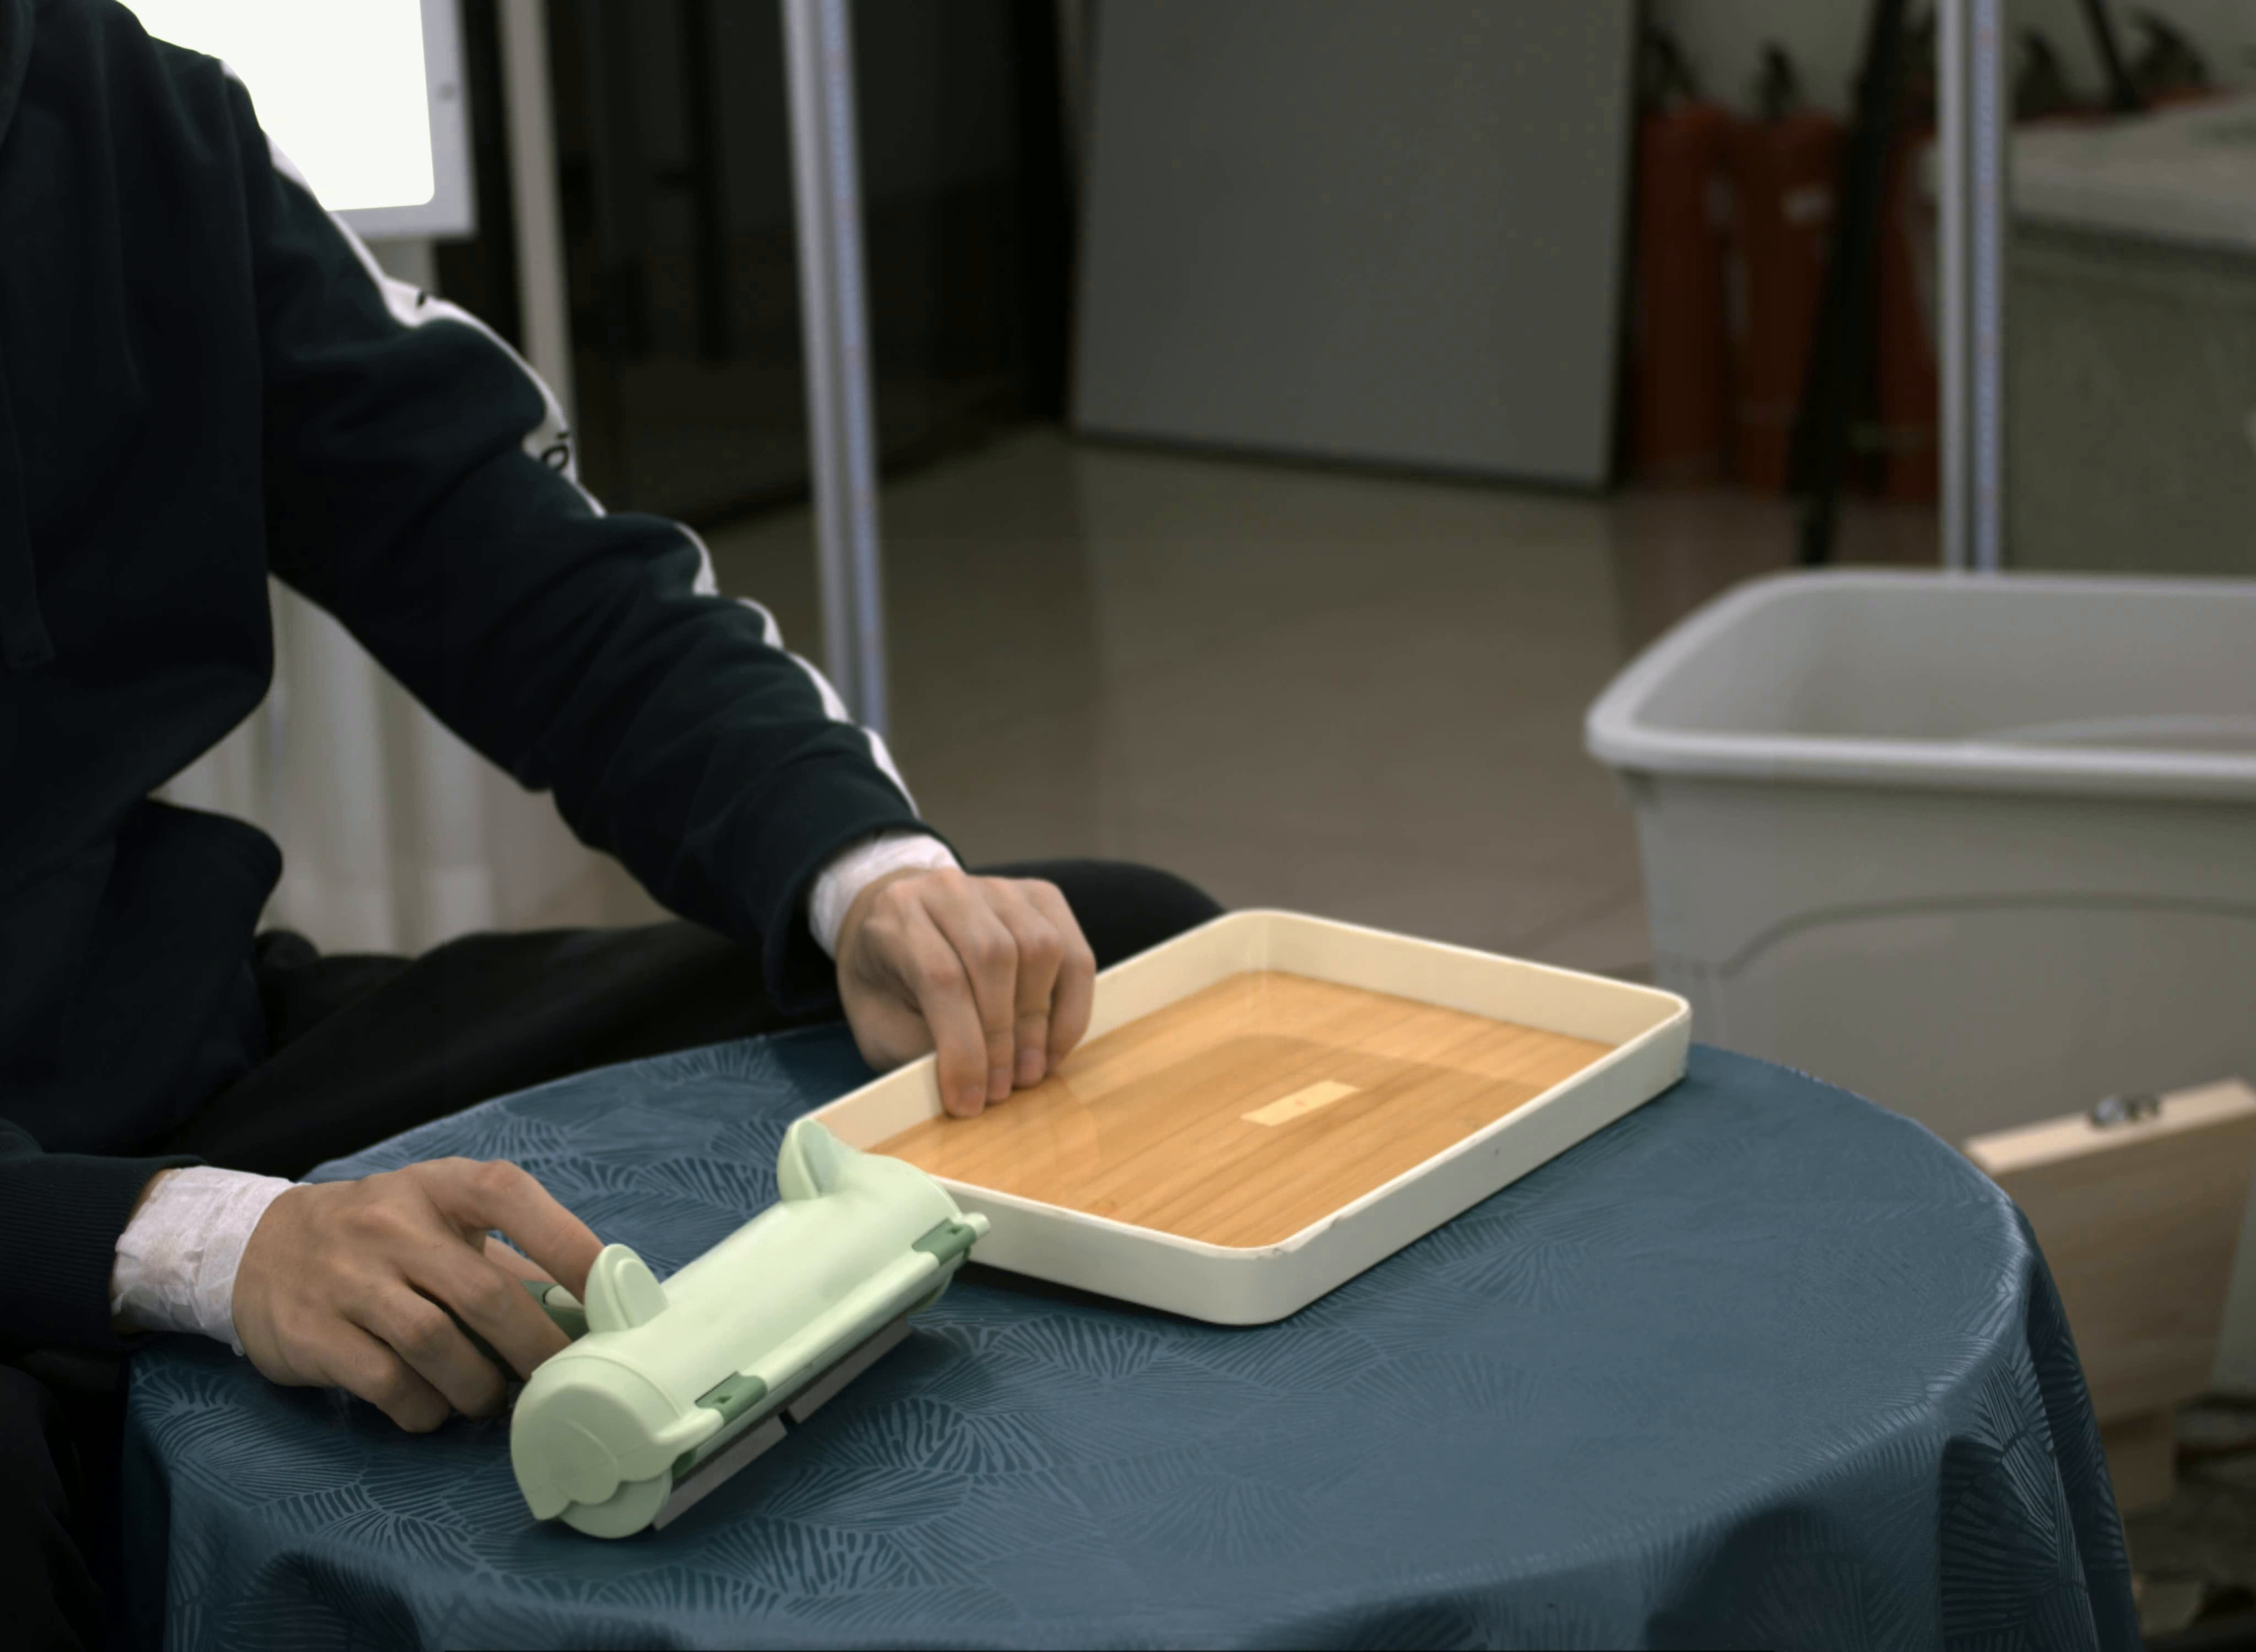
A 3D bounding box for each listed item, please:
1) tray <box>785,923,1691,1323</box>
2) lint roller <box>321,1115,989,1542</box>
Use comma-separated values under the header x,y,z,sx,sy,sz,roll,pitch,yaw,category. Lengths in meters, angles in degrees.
x,y,z,sx,sy,sz,roll,pitch,yaw,category
0.042,0.094,1.788,0.192,0.028,0.295,9,19,33,tray
-0.160,0.136,1.593,0.183,0.083,0.196,8,18,25,lint roller
